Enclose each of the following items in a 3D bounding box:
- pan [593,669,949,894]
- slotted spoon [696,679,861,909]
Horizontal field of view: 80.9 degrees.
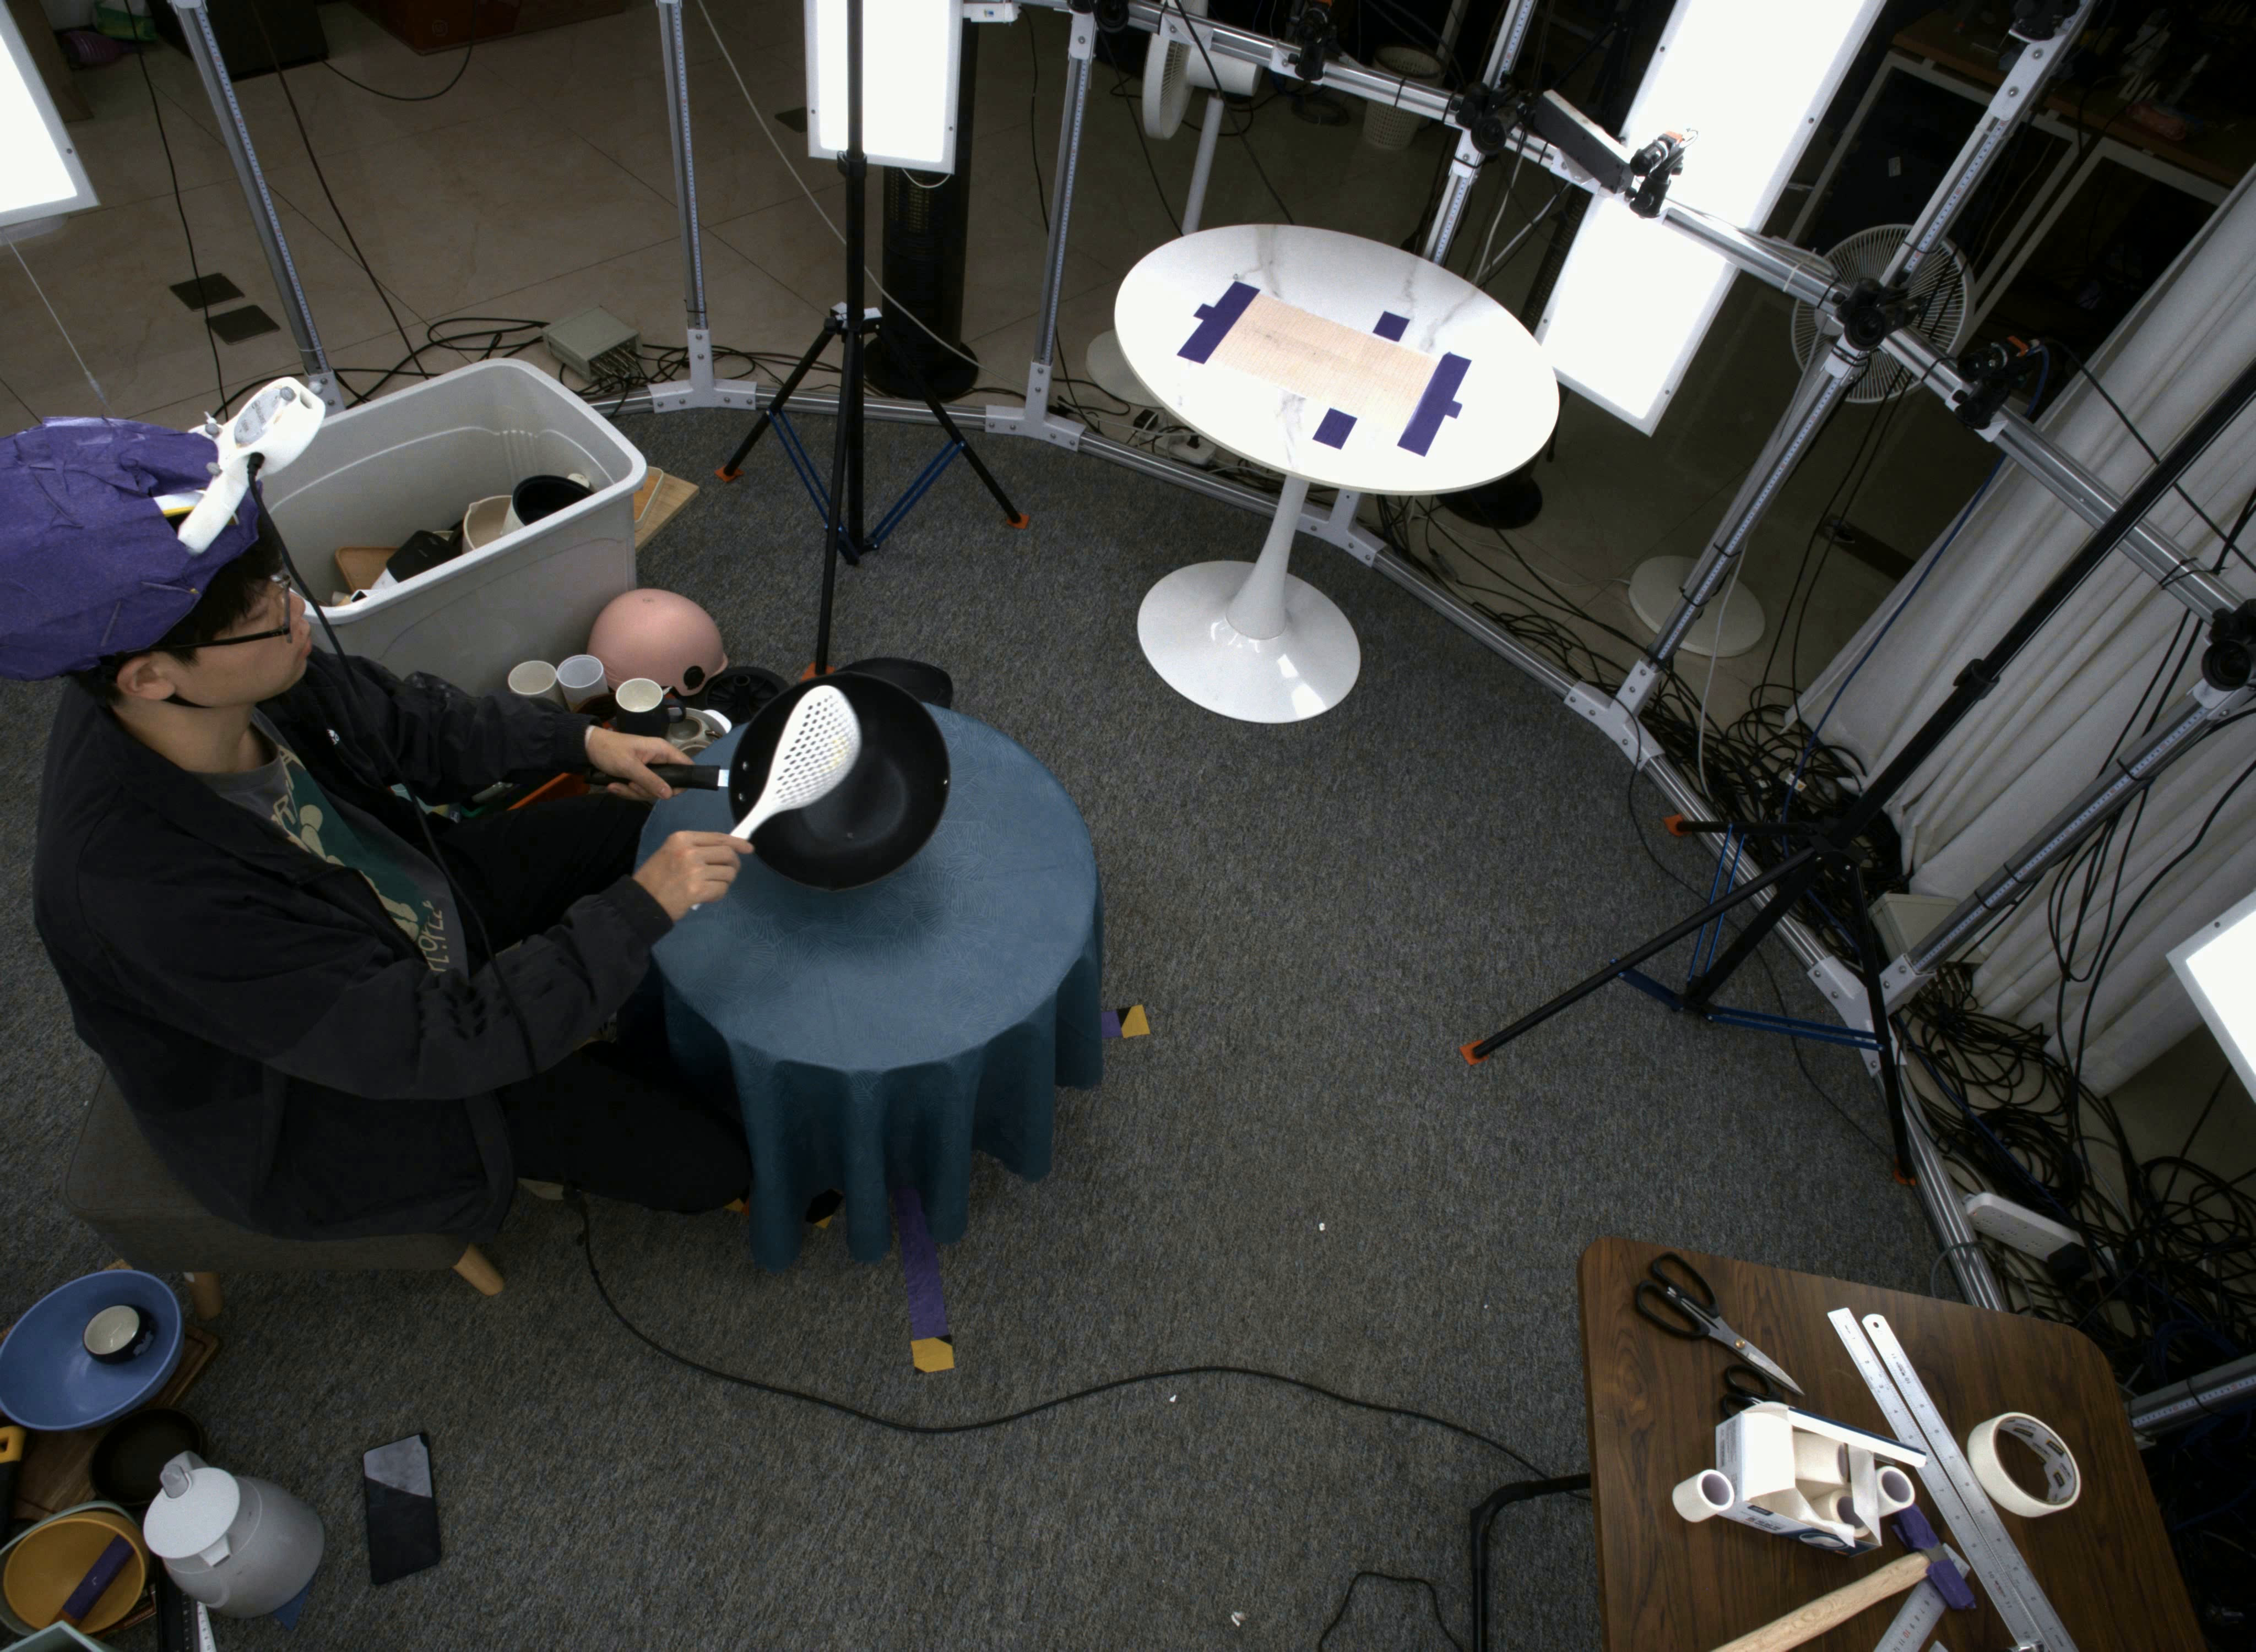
[{"bbox_3d":[-0.449,-0.050,1.639,0.458,0.088,0.287,1,76,-1],"label":"pan"},{"bbox_3d":[-0.413,-0.031,1.537,0.048,0.142,0.346,14,51,27],"label":"slotted spoon"}]
